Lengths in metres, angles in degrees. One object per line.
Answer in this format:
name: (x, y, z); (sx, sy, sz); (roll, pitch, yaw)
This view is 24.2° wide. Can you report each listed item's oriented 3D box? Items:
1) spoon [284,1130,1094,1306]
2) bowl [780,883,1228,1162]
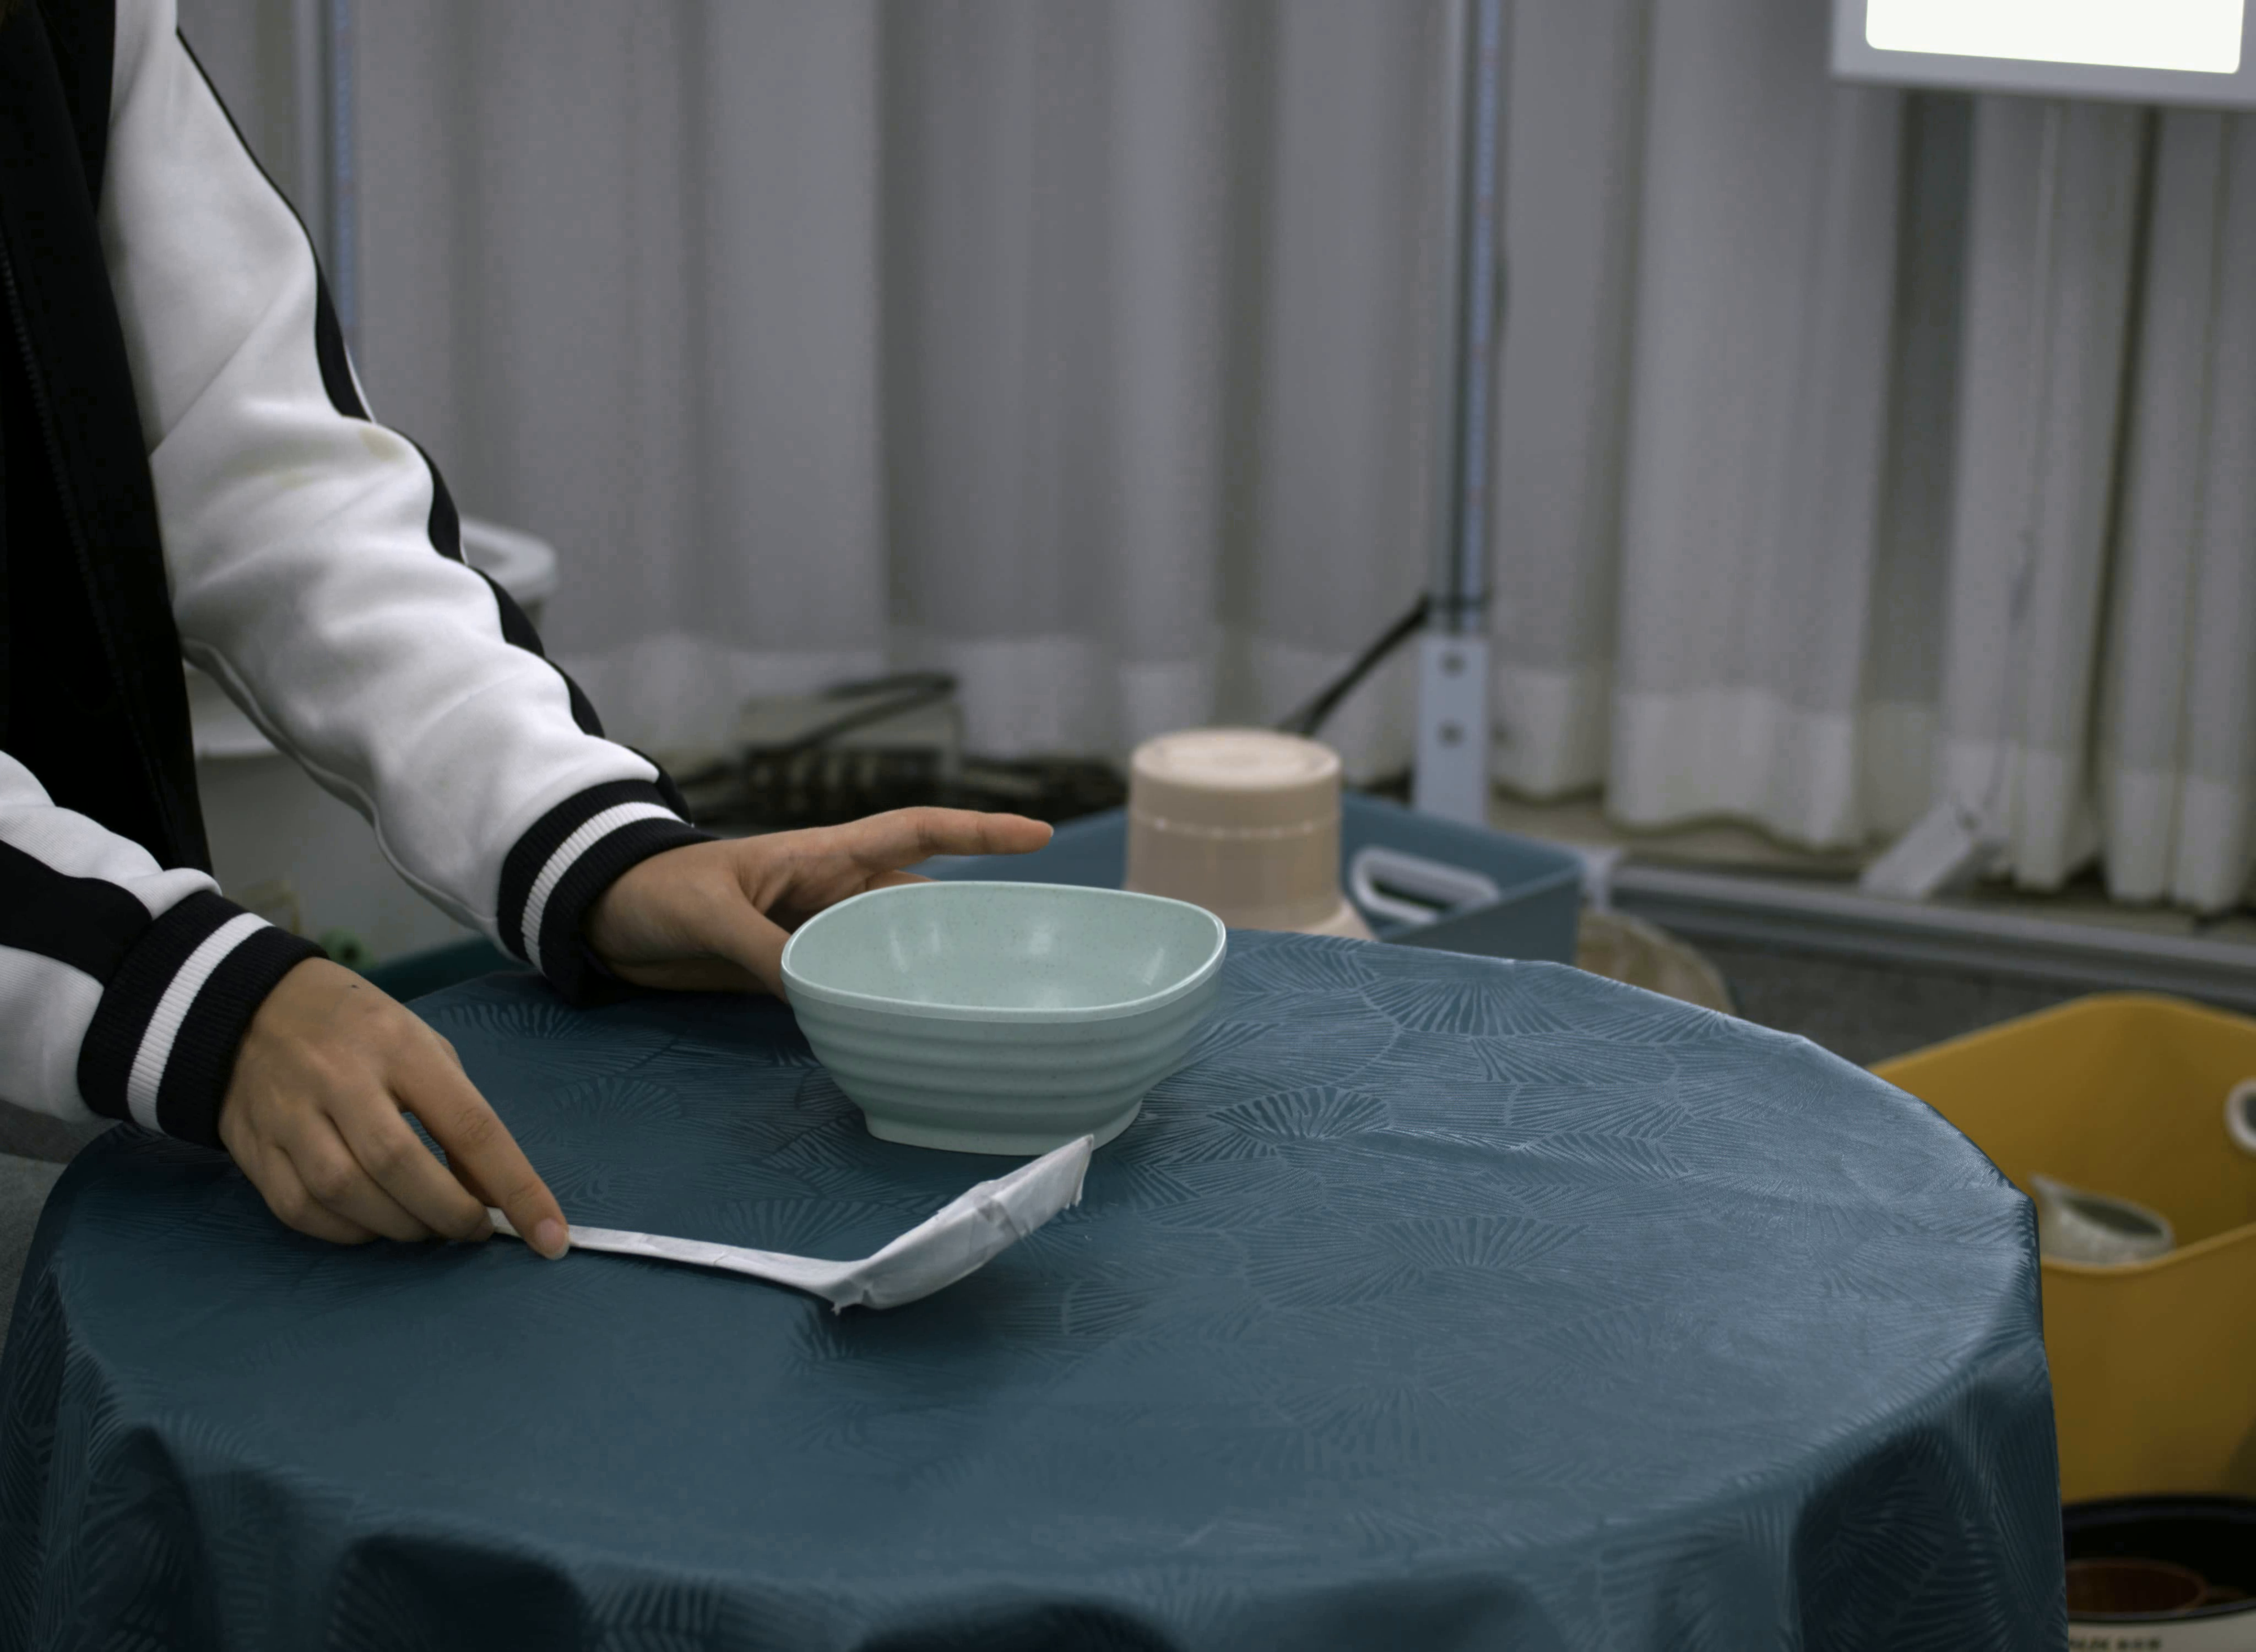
spoon: (-0.136, 0.098, 1.561); (0.274, 0.060, 0.101); (9, 13, 28)
bowl: (-0.039, 0.066, 1.686); (0.151, 0.059, 0.150); (1, 16, 0)
